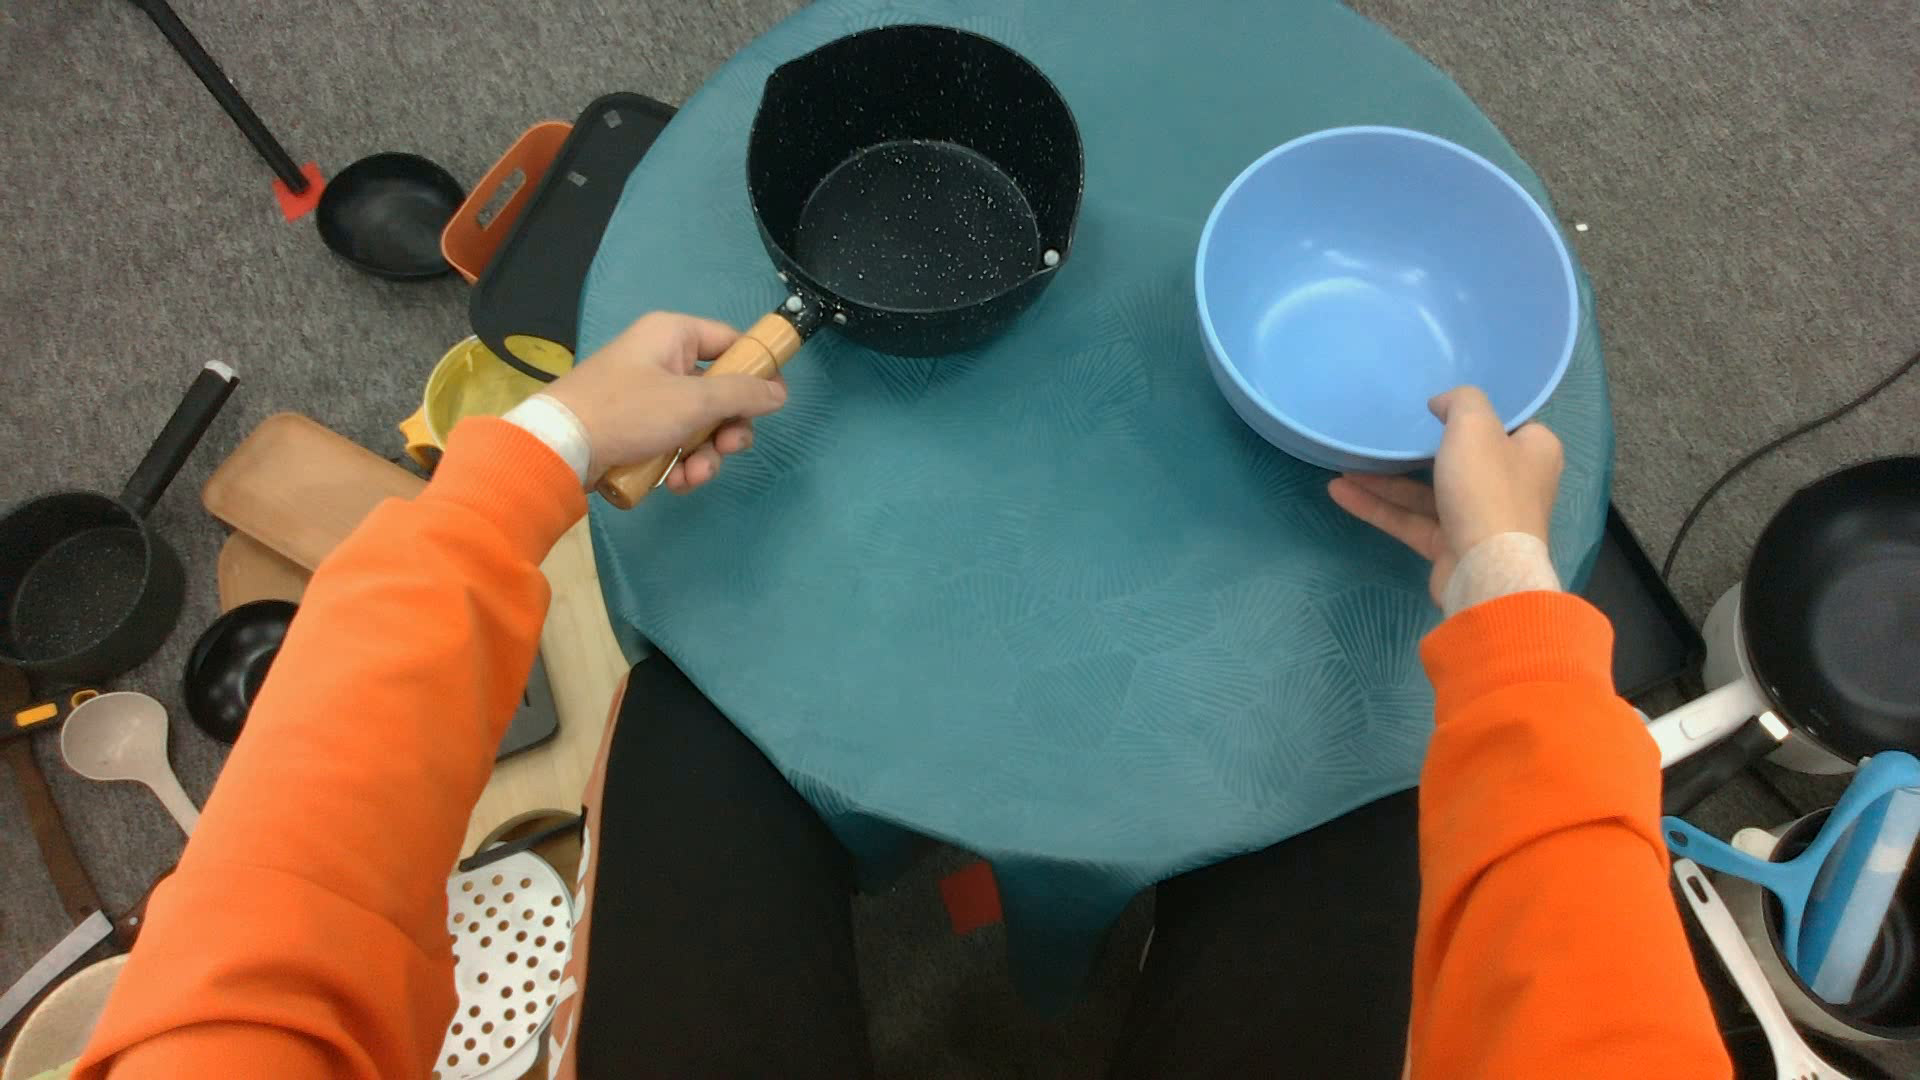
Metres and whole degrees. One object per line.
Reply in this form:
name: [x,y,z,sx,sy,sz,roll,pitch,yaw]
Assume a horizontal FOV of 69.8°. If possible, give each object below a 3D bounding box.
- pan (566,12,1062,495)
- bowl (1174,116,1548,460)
pan: [-0.082,-0.139,0.751,0.207,0.108,0.344,33,71,9]
bowl: [0.208,-0.123,0.759,0.196,0.095,0.197,1,69,-2]
